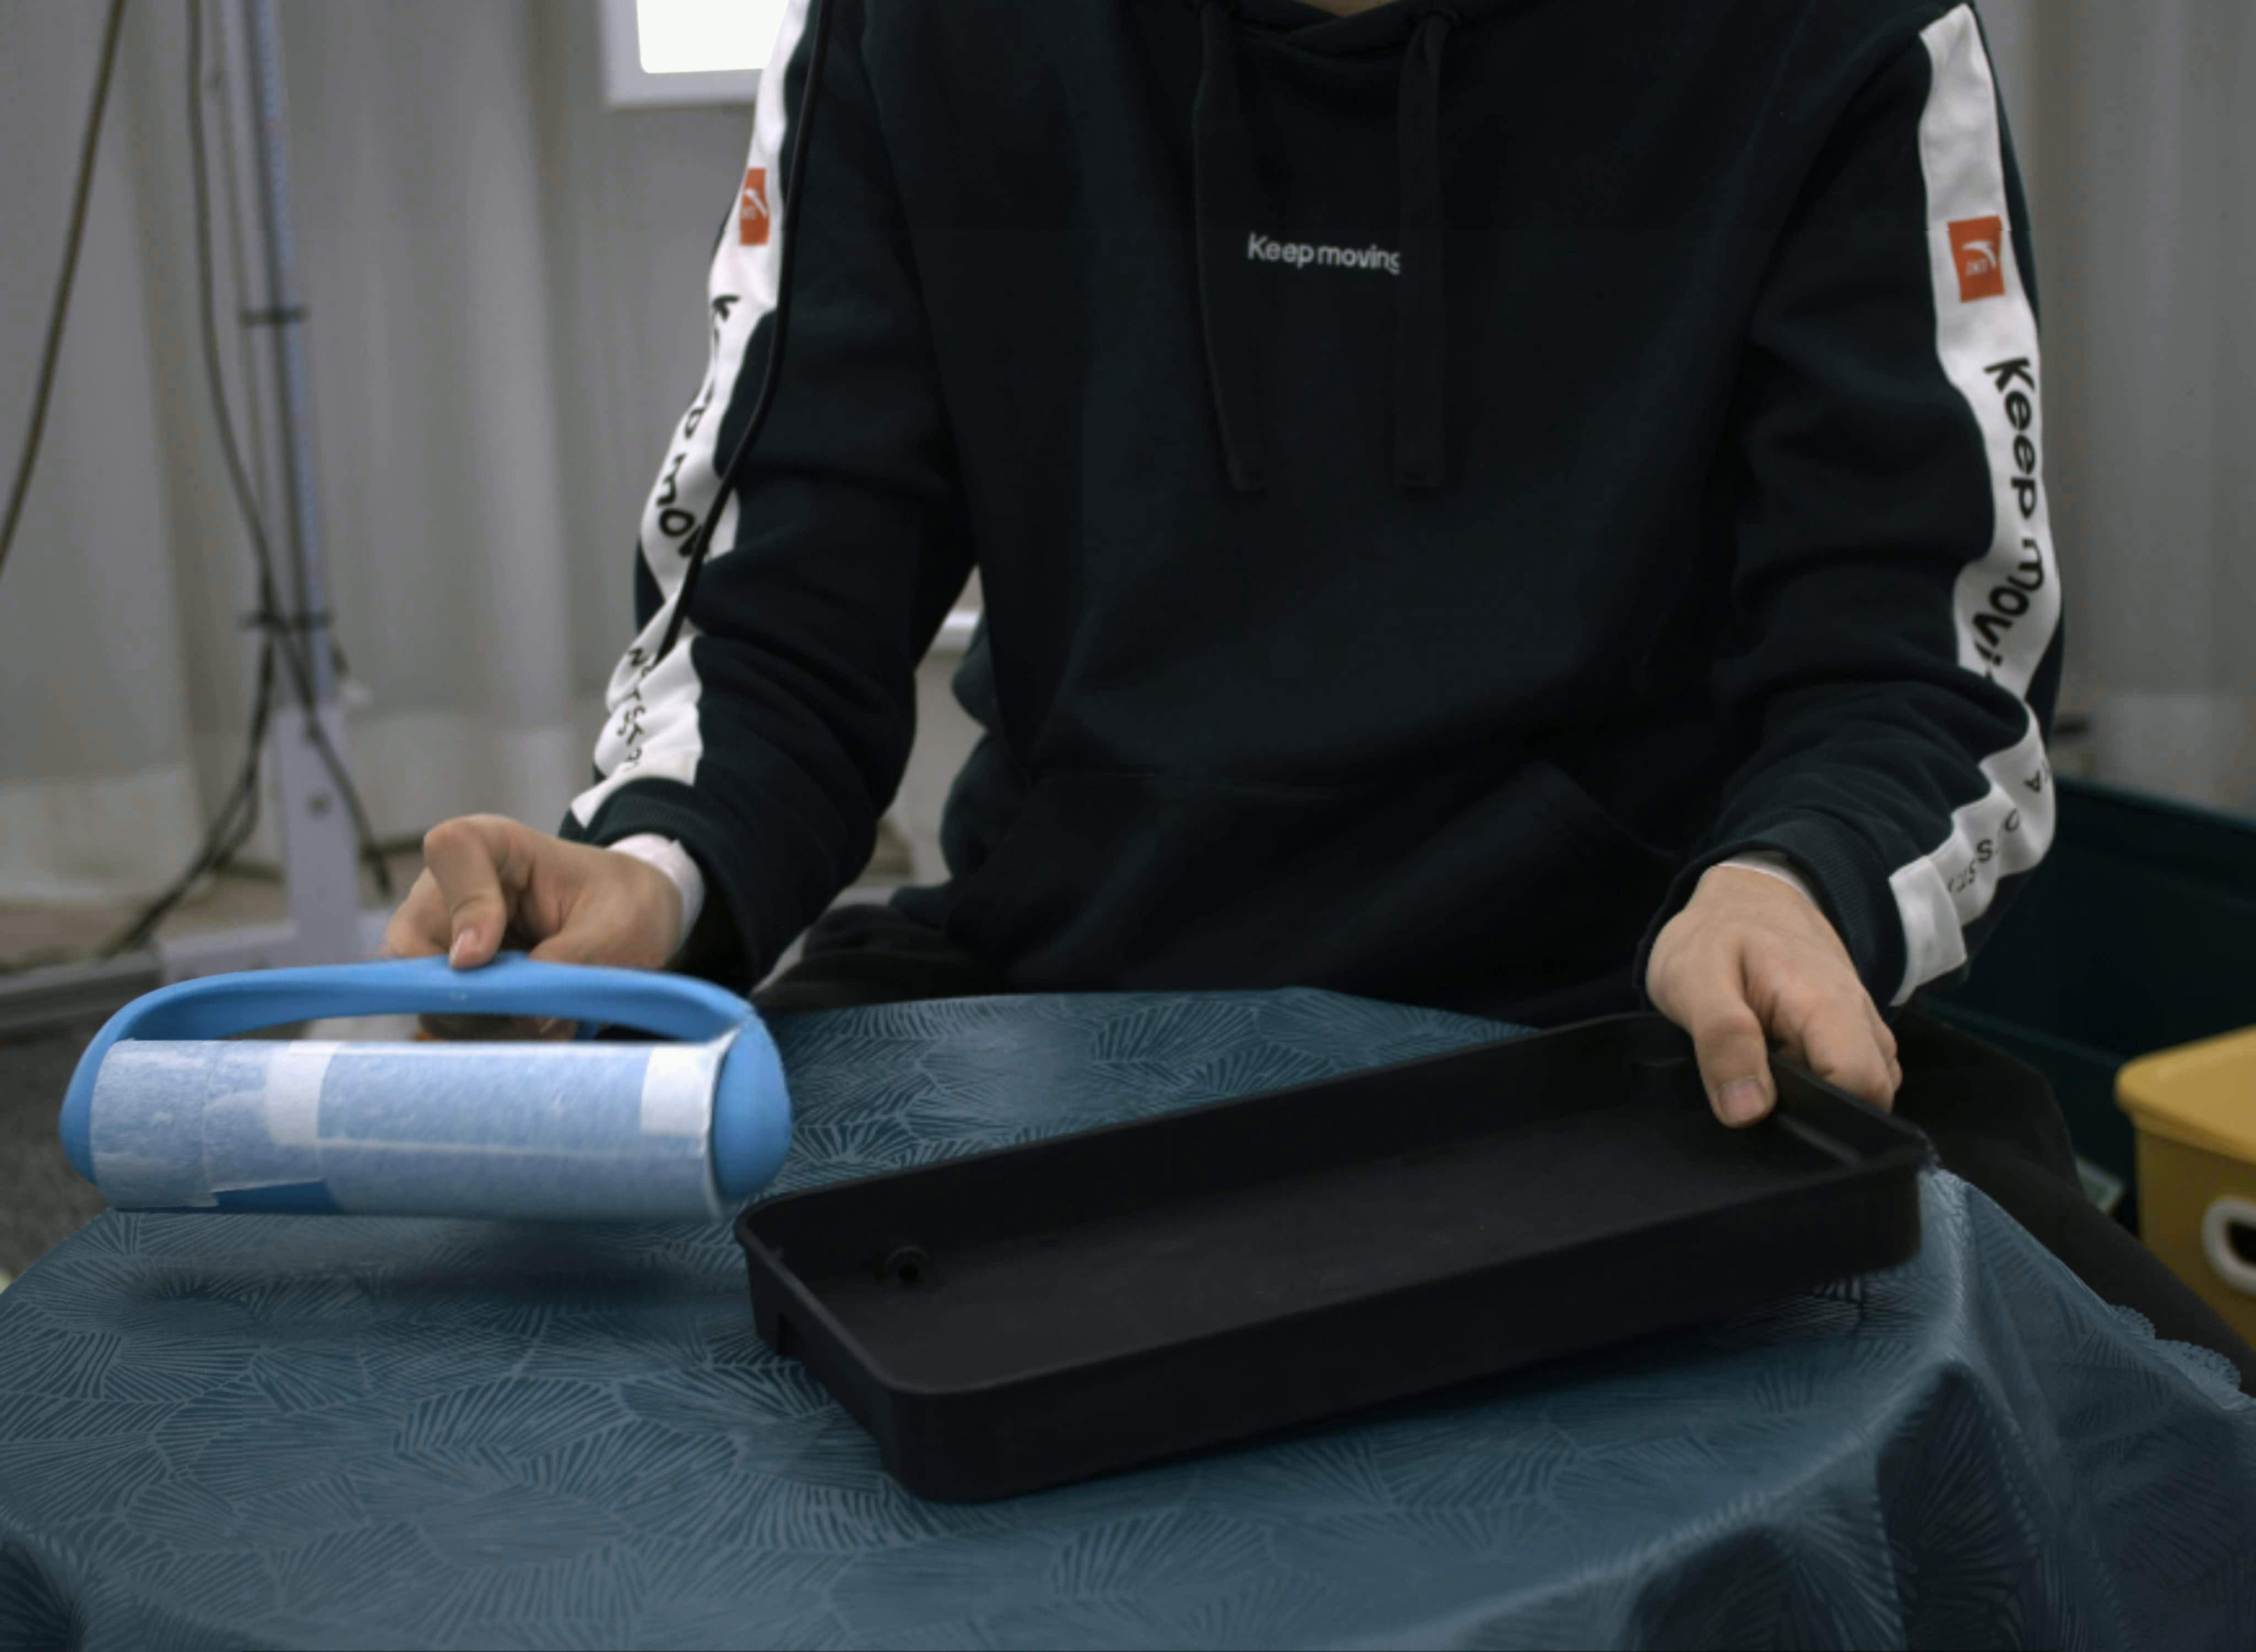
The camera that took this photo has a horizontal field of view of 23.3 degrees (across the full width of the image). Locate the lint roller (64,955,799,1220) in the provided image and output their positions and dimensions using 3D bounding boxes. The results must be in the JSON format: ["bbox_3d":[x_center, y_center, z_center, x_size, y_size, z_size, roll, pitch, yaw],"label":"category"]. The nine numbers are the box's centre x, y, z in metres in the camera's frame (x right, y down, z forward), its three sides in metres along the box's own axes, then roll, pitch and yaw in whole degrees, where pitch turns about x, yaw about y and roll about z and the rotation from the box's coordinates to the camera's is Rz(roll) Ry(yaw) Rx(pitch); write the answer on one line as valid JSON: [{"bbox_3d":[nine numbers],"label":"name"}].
[{"bbox_3d":[-0.203,0.071,1.706,0.228,0.067,0.181,-3,18,10],"label":"lint roller"}]

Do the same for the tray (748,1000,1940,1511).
[{"bbox_3d":[0.063,0.119,1.587,0.317,0.037,0.185,-14,15,-19],"label":"tray"}]
